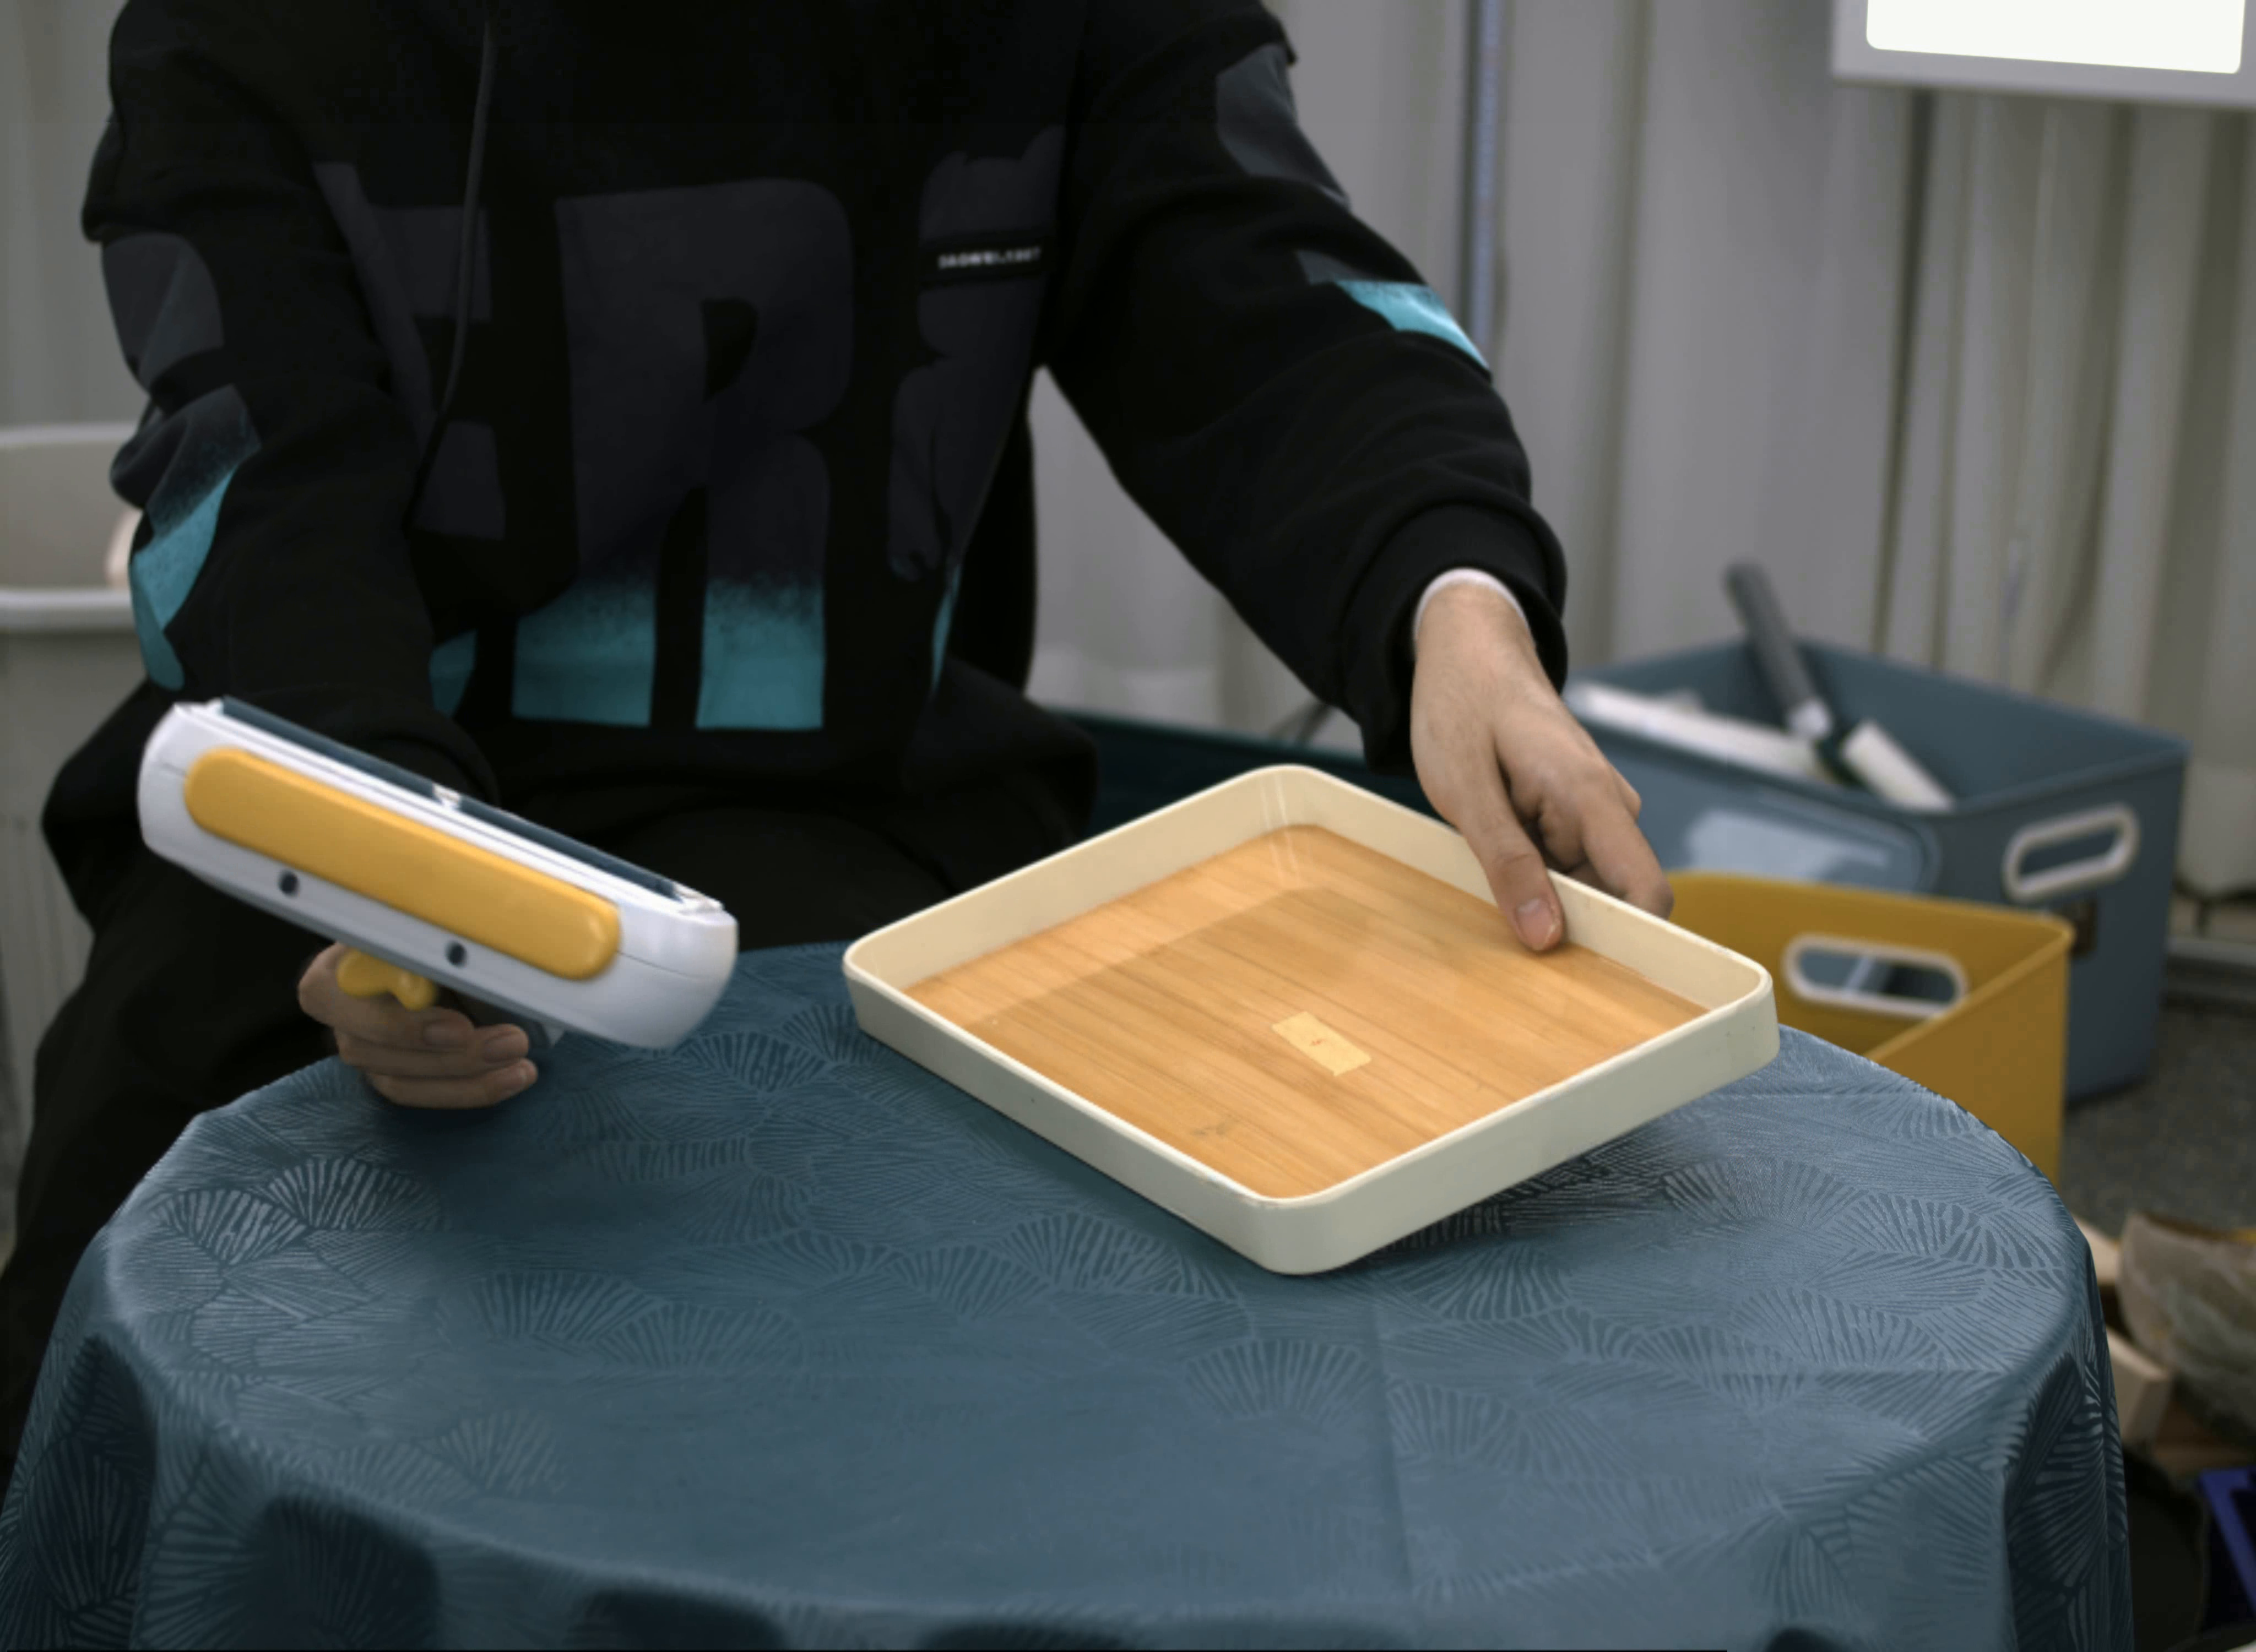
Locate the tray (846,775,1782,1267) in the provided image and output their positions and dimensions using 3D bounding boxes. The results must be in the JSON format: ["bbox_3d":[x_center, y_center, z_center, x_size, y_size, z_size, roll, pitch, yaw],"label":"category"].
[{"bbox_3d":[0.054,0.057,1.694,0.192,0.028,0.296,-21,24,-24],"label":"tray"}]

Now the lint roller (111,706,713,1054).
[{"bbox_3d":[-0.208,0.030,1.652,0.191,0.074,0.193,17,-5,13],"label":"lint roller"}]
